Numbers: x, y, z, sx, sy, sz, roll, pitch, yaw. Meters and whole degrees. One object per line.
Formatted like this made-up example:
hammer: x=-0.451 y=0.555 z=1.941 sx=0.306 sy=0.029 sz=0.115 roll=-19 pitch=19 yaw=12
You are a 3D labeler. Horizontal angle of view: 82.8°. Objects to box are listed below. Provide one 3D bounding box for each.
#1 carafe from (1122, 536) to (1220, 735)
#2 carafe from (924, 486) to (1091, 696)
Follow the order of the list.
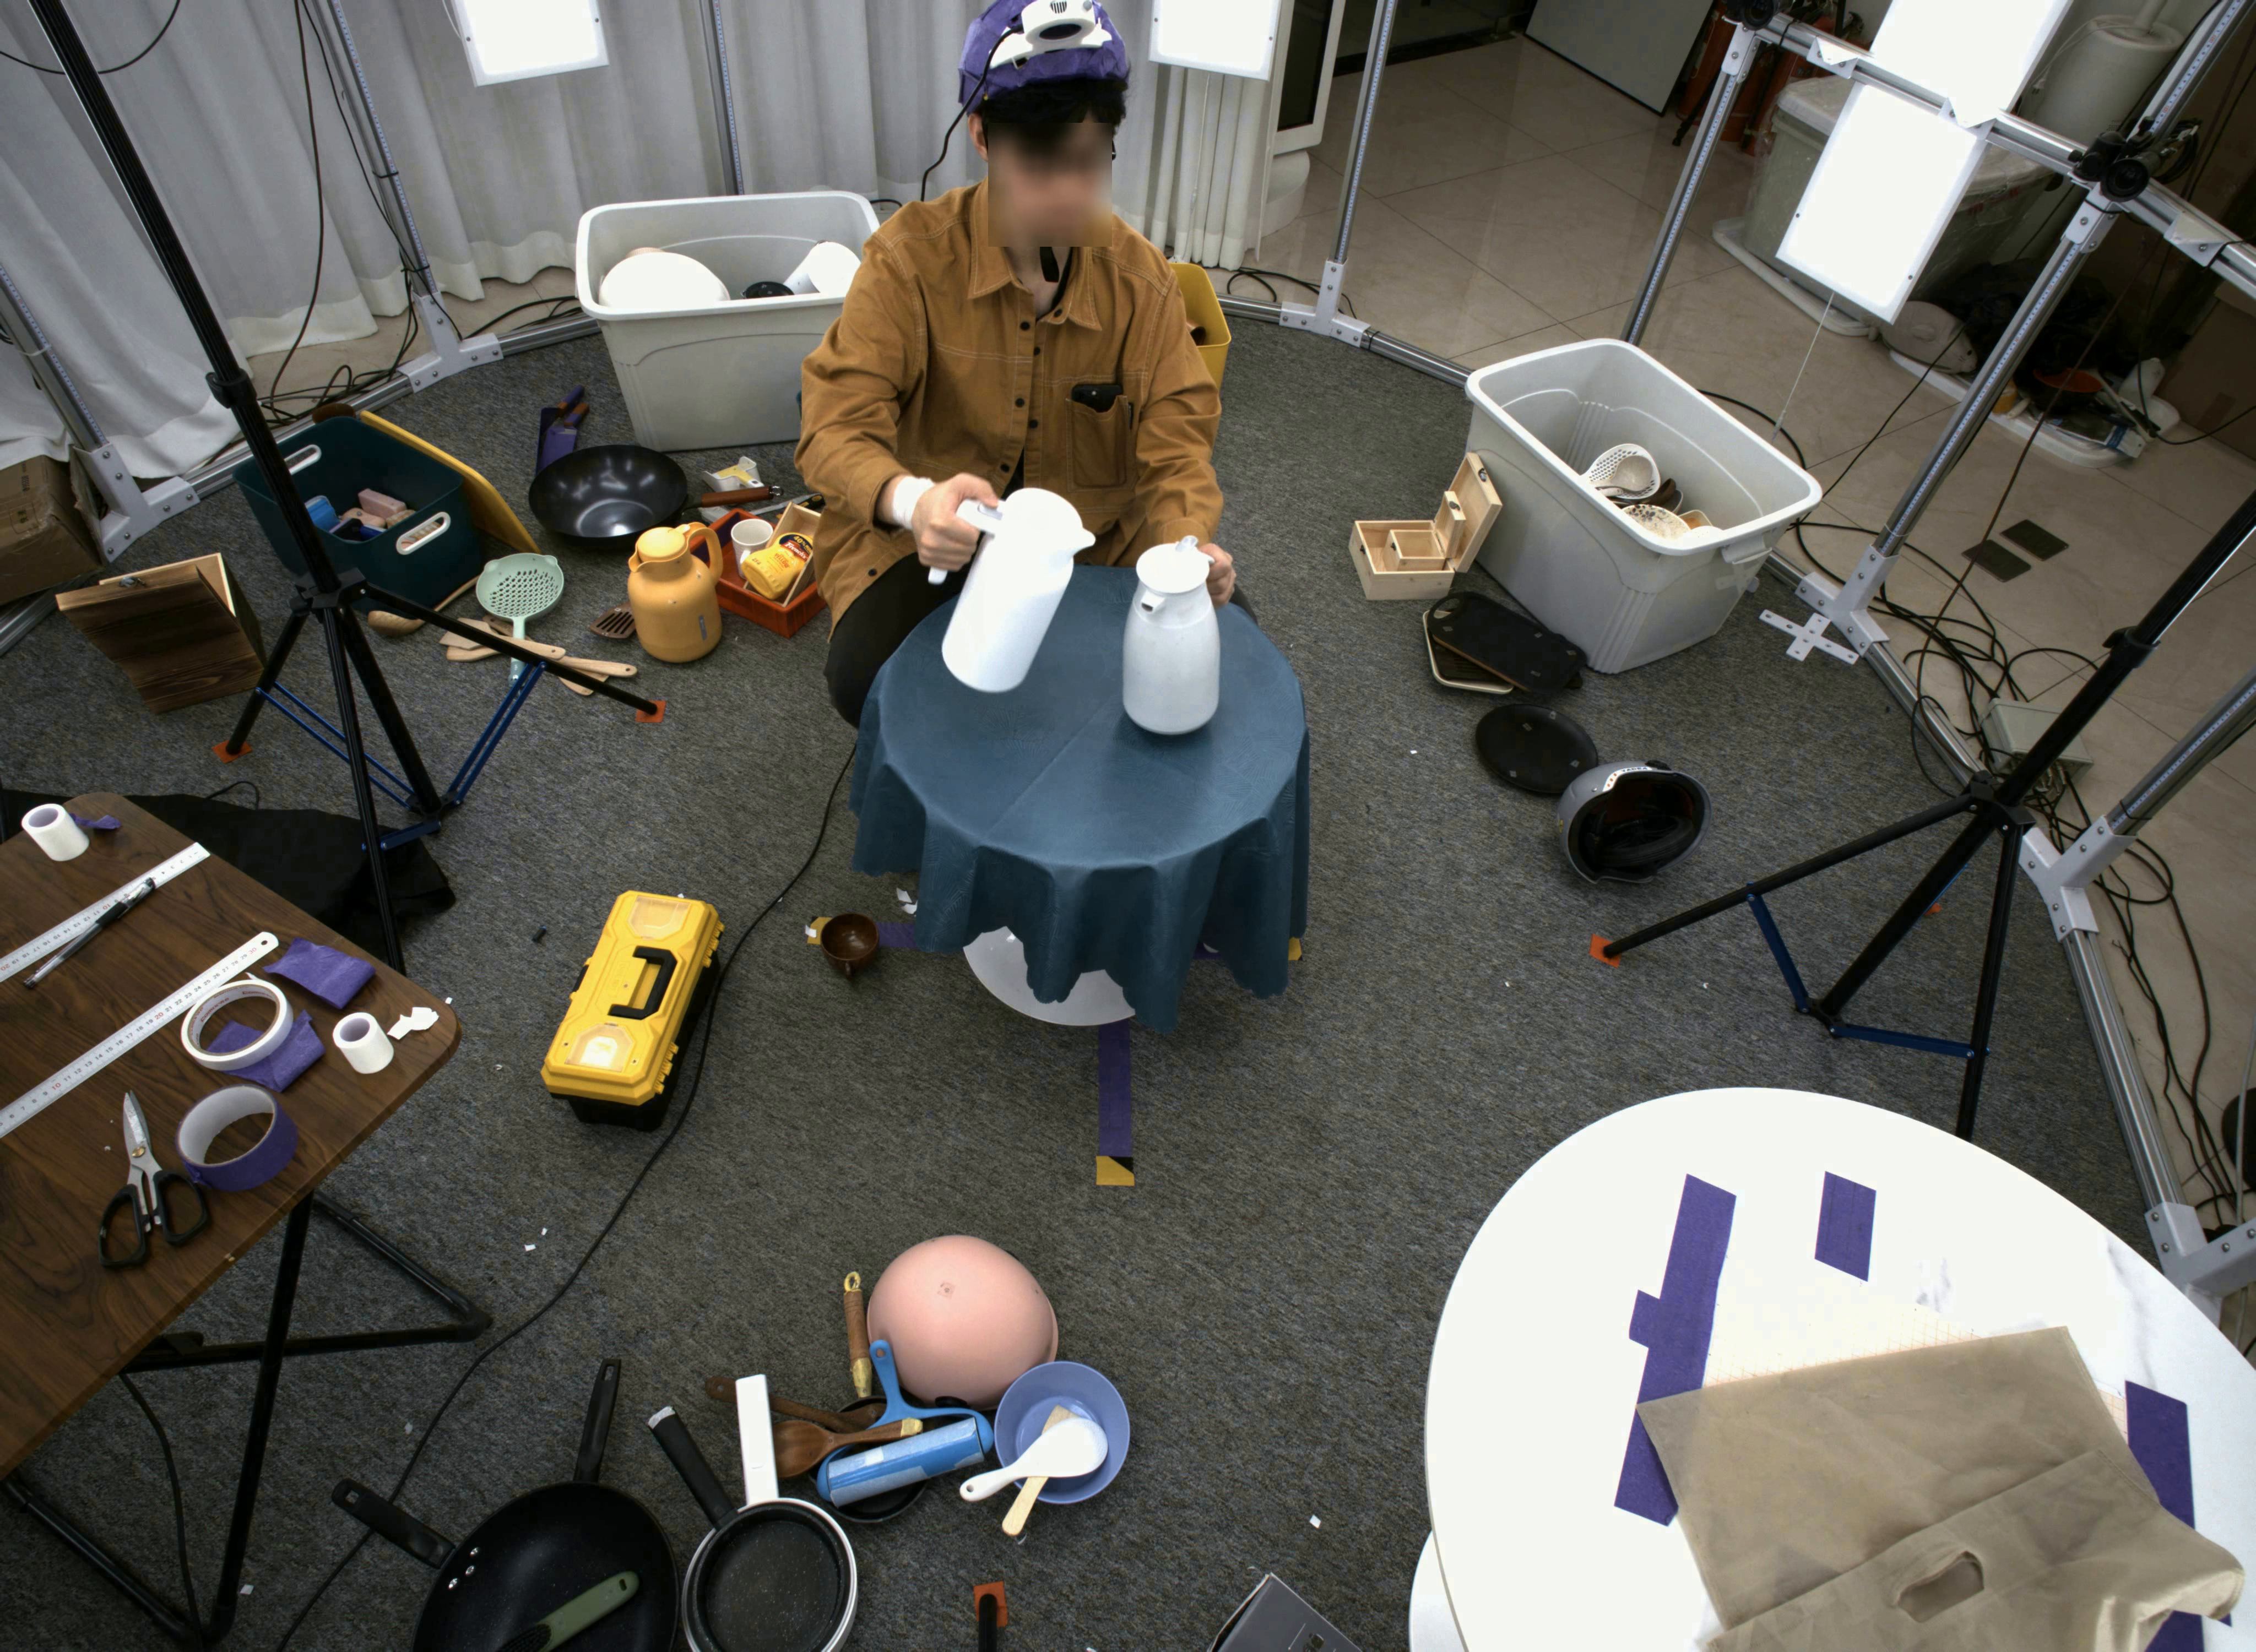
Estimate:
carafe: x=0.066 y=-0.263 z=1.696 sx=0.134 sy=0.242 sz=0.170 roll=24 pitch=55 yaw=20
carafe: x=-0.165 y=-0.289 z=1.596 sx=0.172 sy=0.264 sz=0.127 roll=14 pitch=54 yaw=-13
